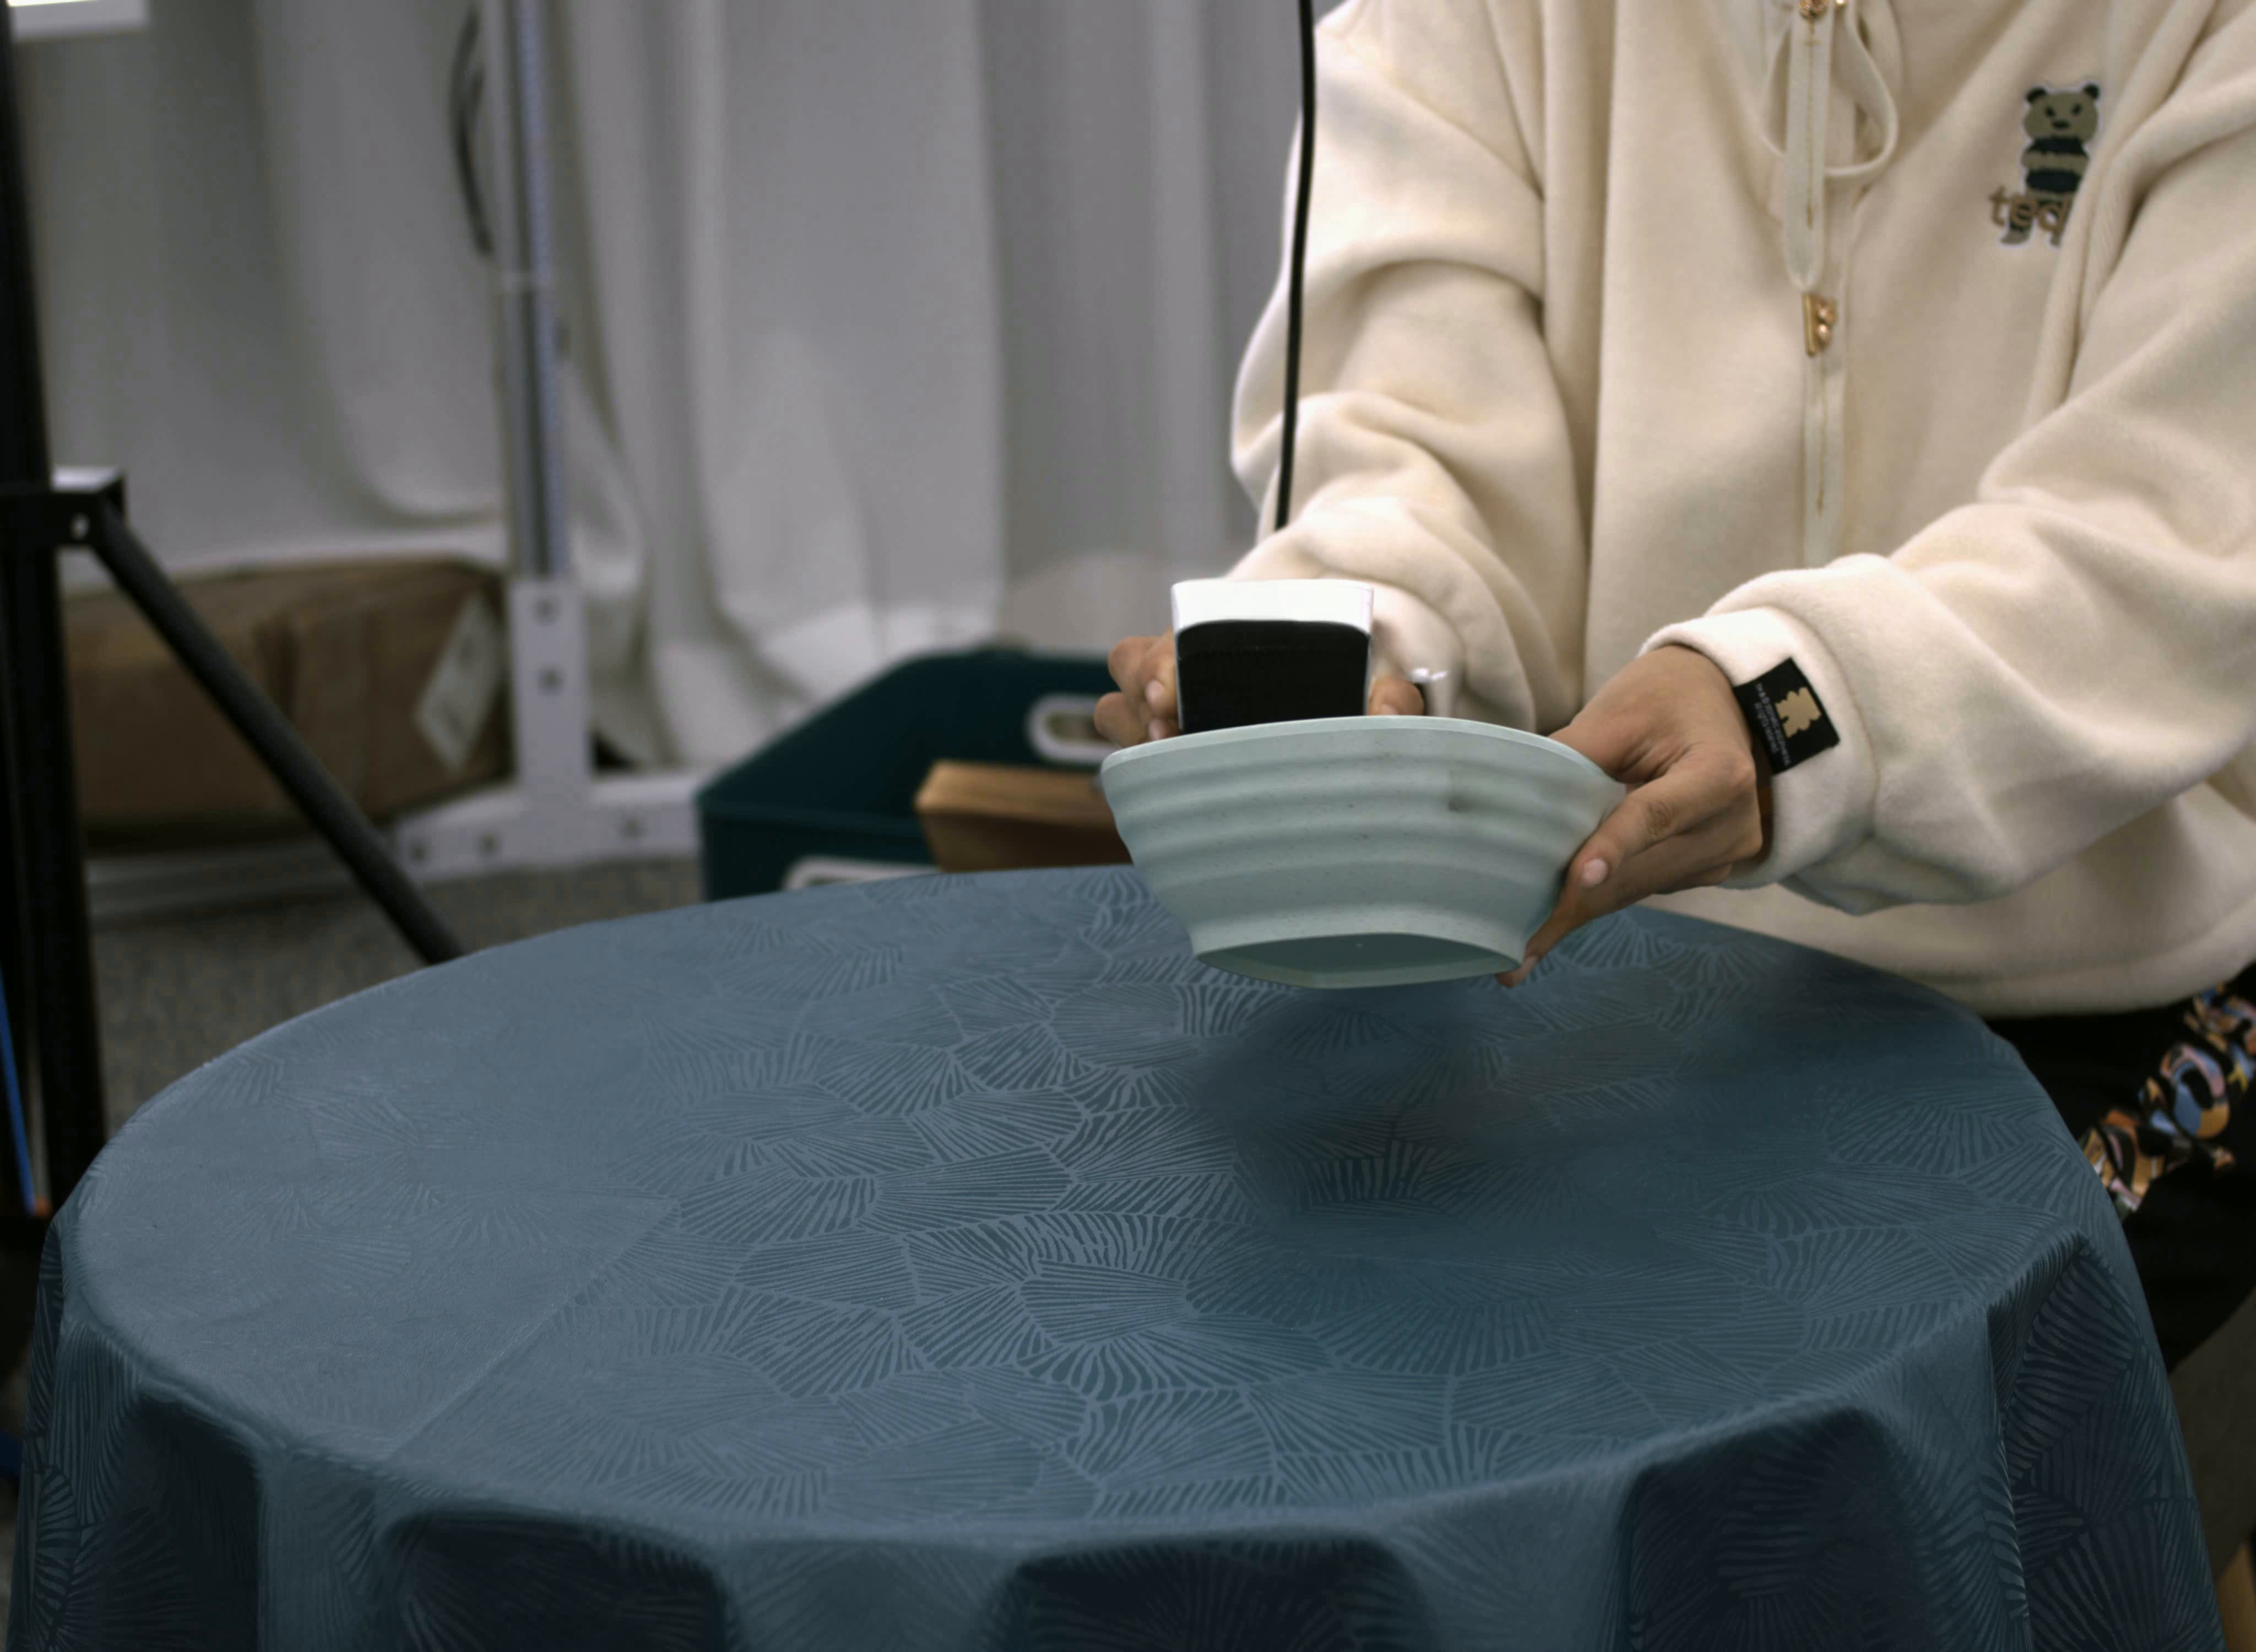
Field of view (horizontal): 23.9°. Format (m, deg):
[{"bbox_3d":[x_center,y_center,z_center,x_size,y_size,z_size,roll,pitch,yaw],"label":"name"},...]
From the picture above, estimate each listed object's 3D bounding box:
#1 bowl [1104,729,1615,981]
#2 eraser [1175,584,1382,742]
[{"bbox_3d":[0.067,0.012,1.538,0.150,0.059,0.151,2,-9,-1],"label":"bowl"},{"bbox_3d":[0.046,-0.043,1.617,0.063,0.035,0.130,1,-19,3],"label":"eraser"}]
